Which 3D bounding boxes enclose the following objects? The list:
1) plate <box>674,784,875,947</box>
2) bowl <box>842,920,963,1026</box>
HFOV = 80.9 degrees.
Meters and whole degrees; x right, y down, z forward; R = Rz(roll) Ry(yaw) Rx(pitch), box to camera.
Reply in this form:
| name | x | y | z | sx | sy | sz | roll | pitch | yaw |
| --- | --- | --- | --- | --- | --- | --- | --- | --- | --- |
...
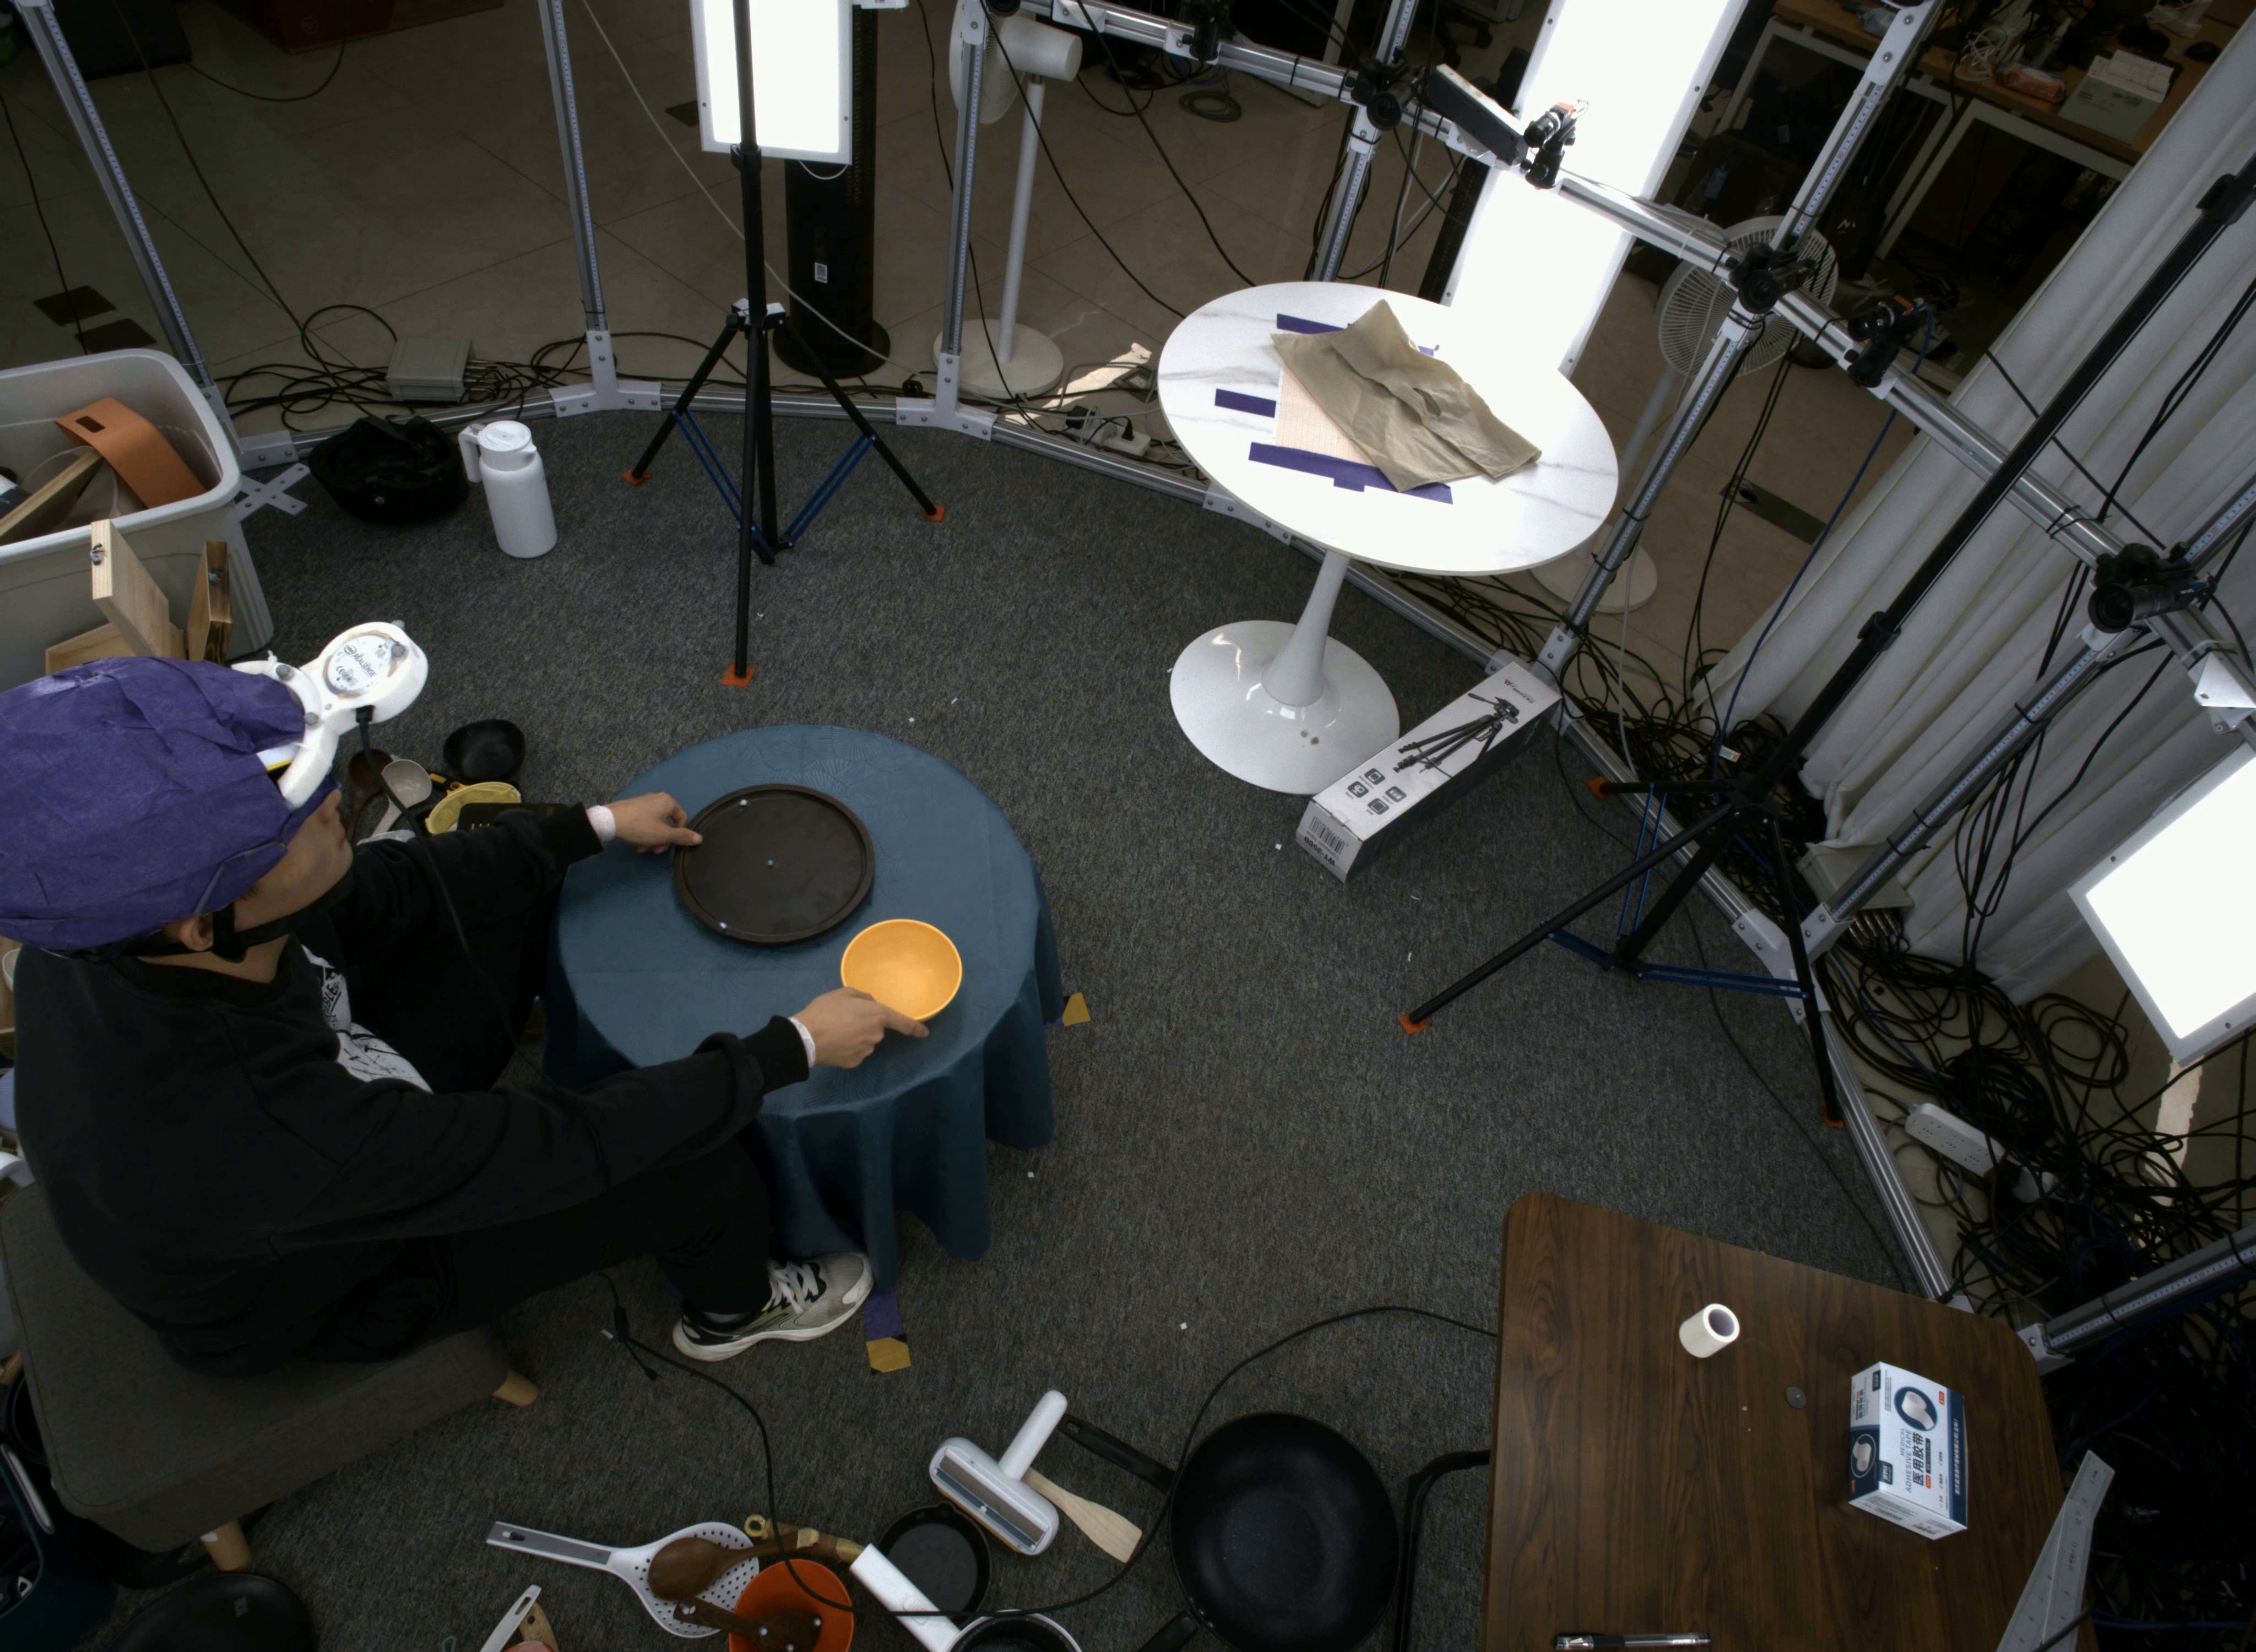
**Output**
| name | x | y | z | sx | sy | sz | roll | pitch | yaw |
| --- | --- | --- | --- | --- | --- | --- | --- | --- | --- |
| plate | -0.455 | 0.047 | 1.671 | 0.254 | 0.029 | 0.250 | 8 | 54 | -9 |
| bowl | -0.275 | 0.189 | 1.591 | 0.144 | 0.061 | 0.143 | 6 | 52 | -6 |
